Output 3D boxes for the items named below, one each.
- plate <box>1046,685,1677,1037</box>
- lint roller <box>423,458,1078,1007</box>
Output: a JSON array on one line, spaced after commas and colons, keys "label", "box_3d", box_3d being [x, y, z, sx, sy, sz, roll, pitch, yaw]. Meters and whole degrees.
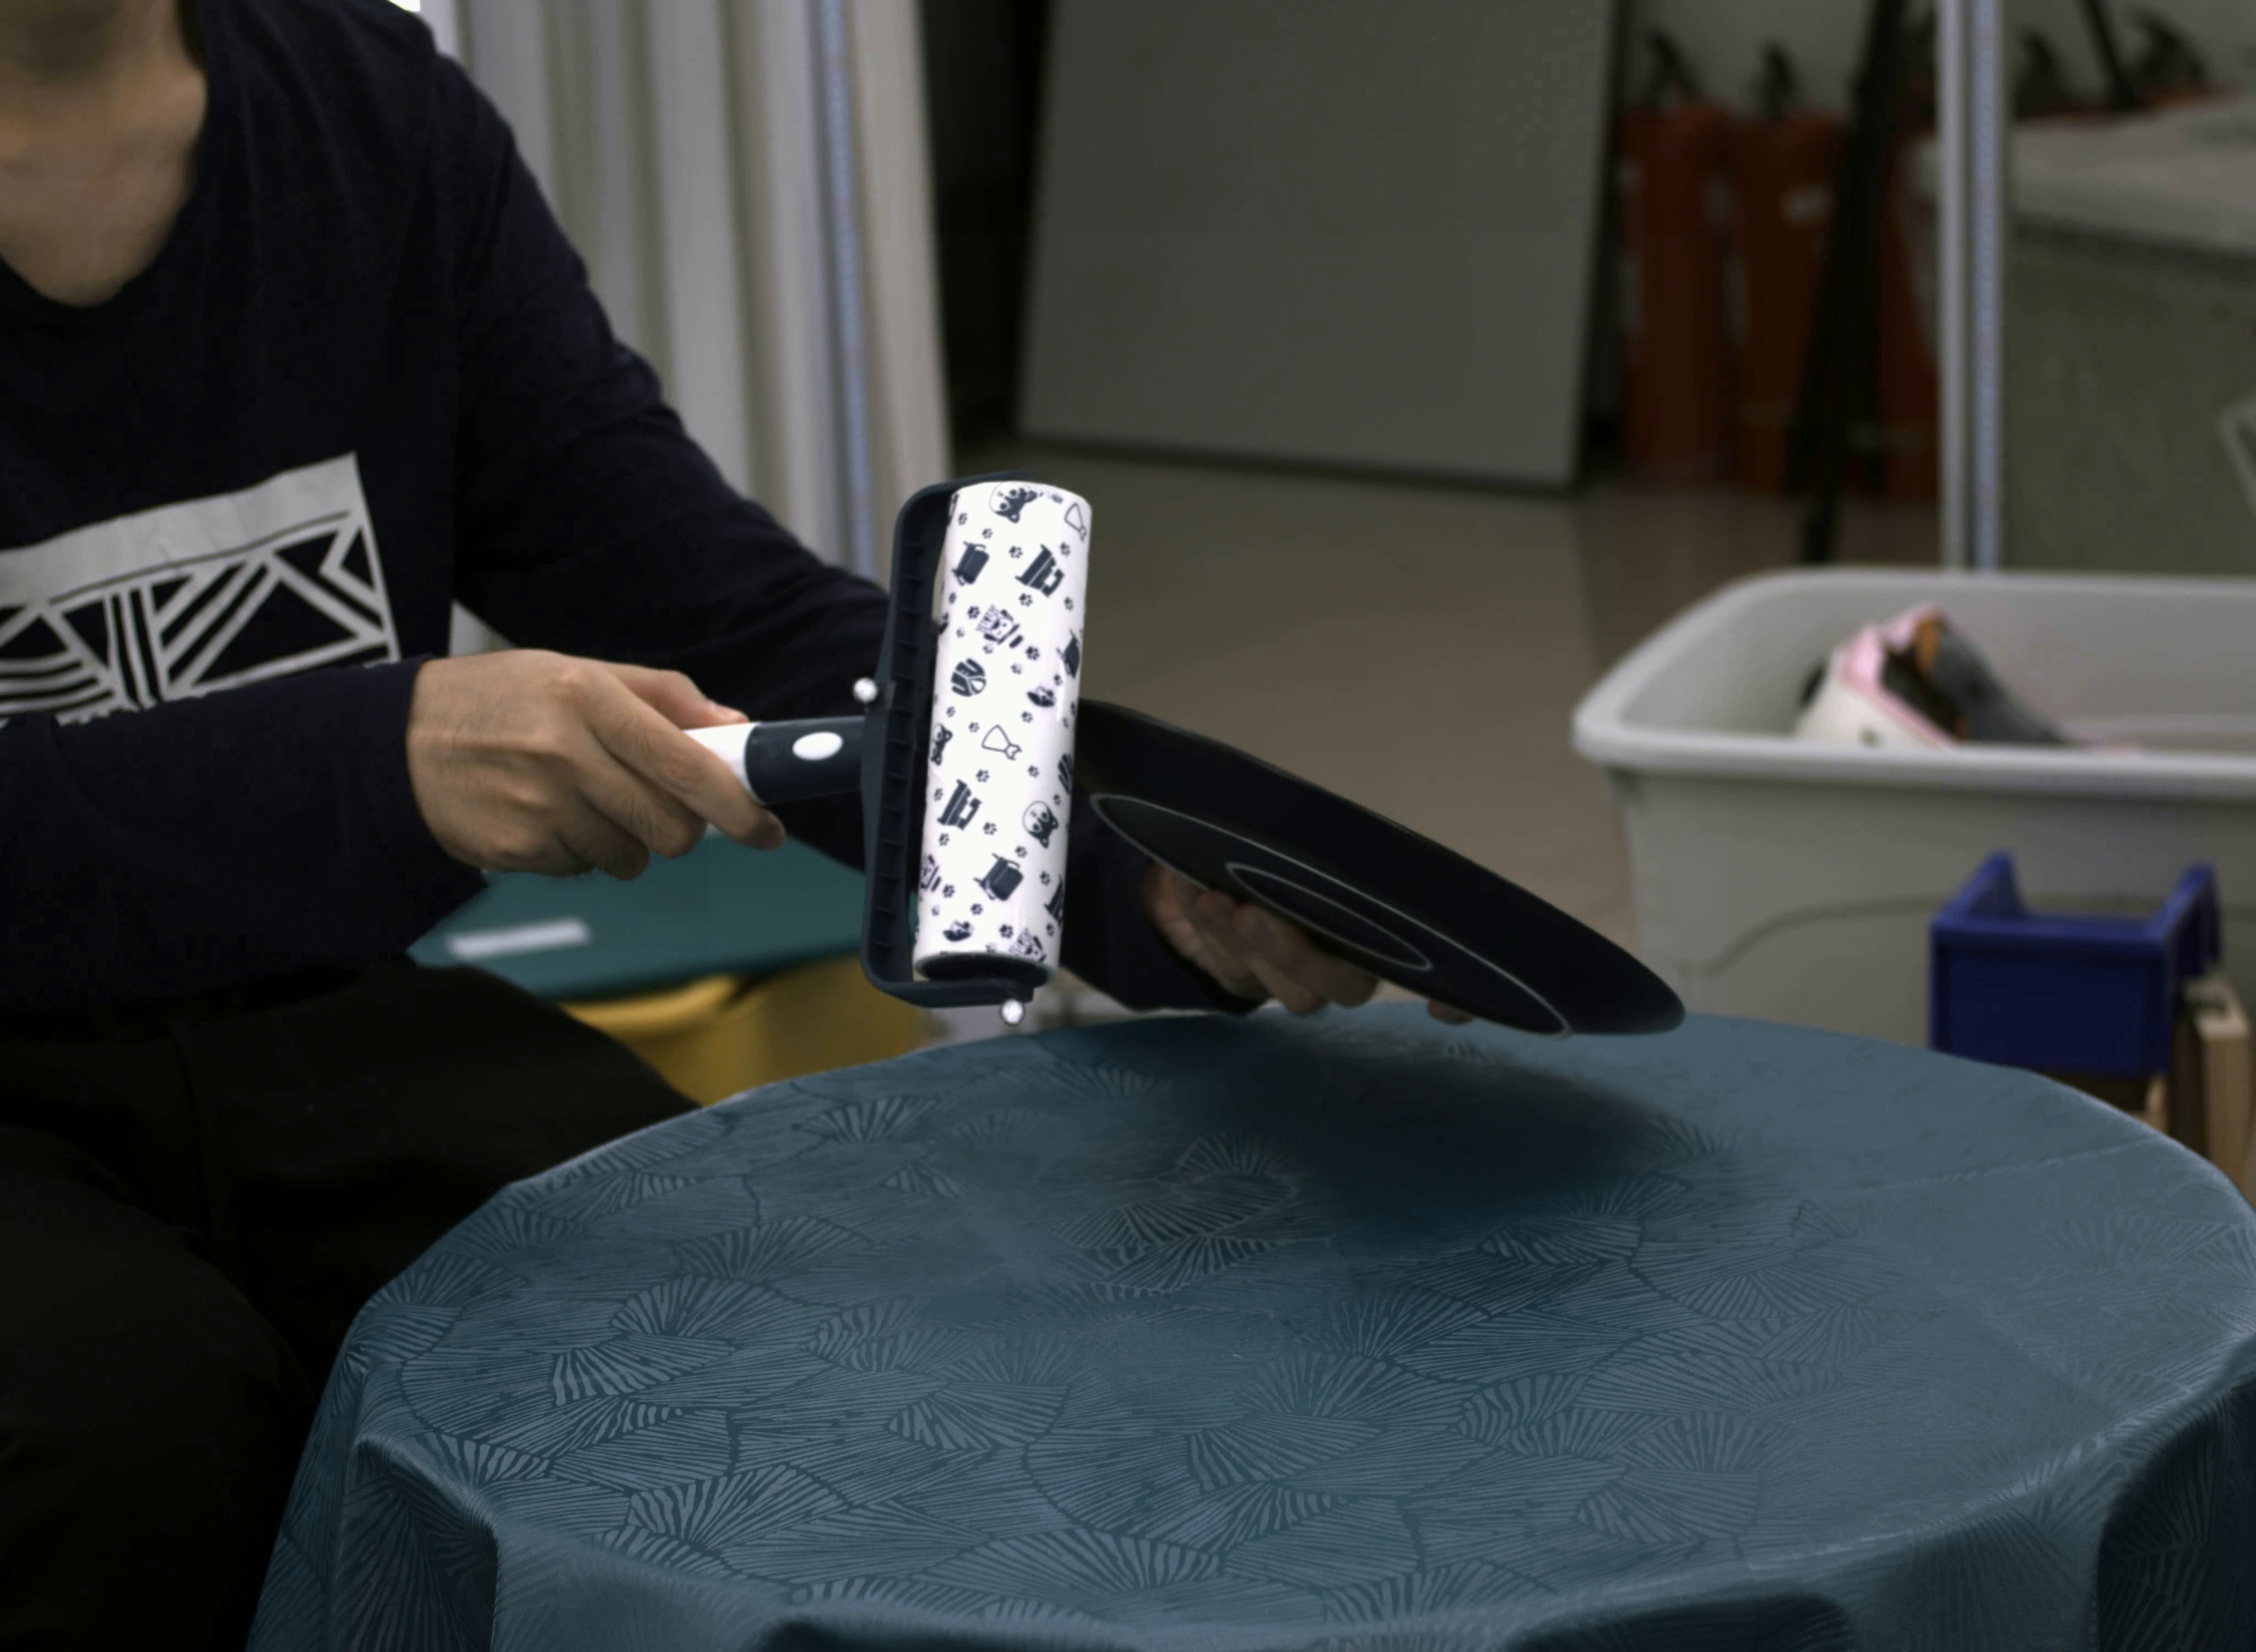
[{"label": "plate", "box_3d": [0.070, 0.020, 1.794, 0.243, 0.023, 0.244, 27, -8, 3]}, {"label": "lint roller", "box_3d": [-0.132, -0.023, 1.780, 0.247, 0.178, 0.049, -5, -19, 27]}]
